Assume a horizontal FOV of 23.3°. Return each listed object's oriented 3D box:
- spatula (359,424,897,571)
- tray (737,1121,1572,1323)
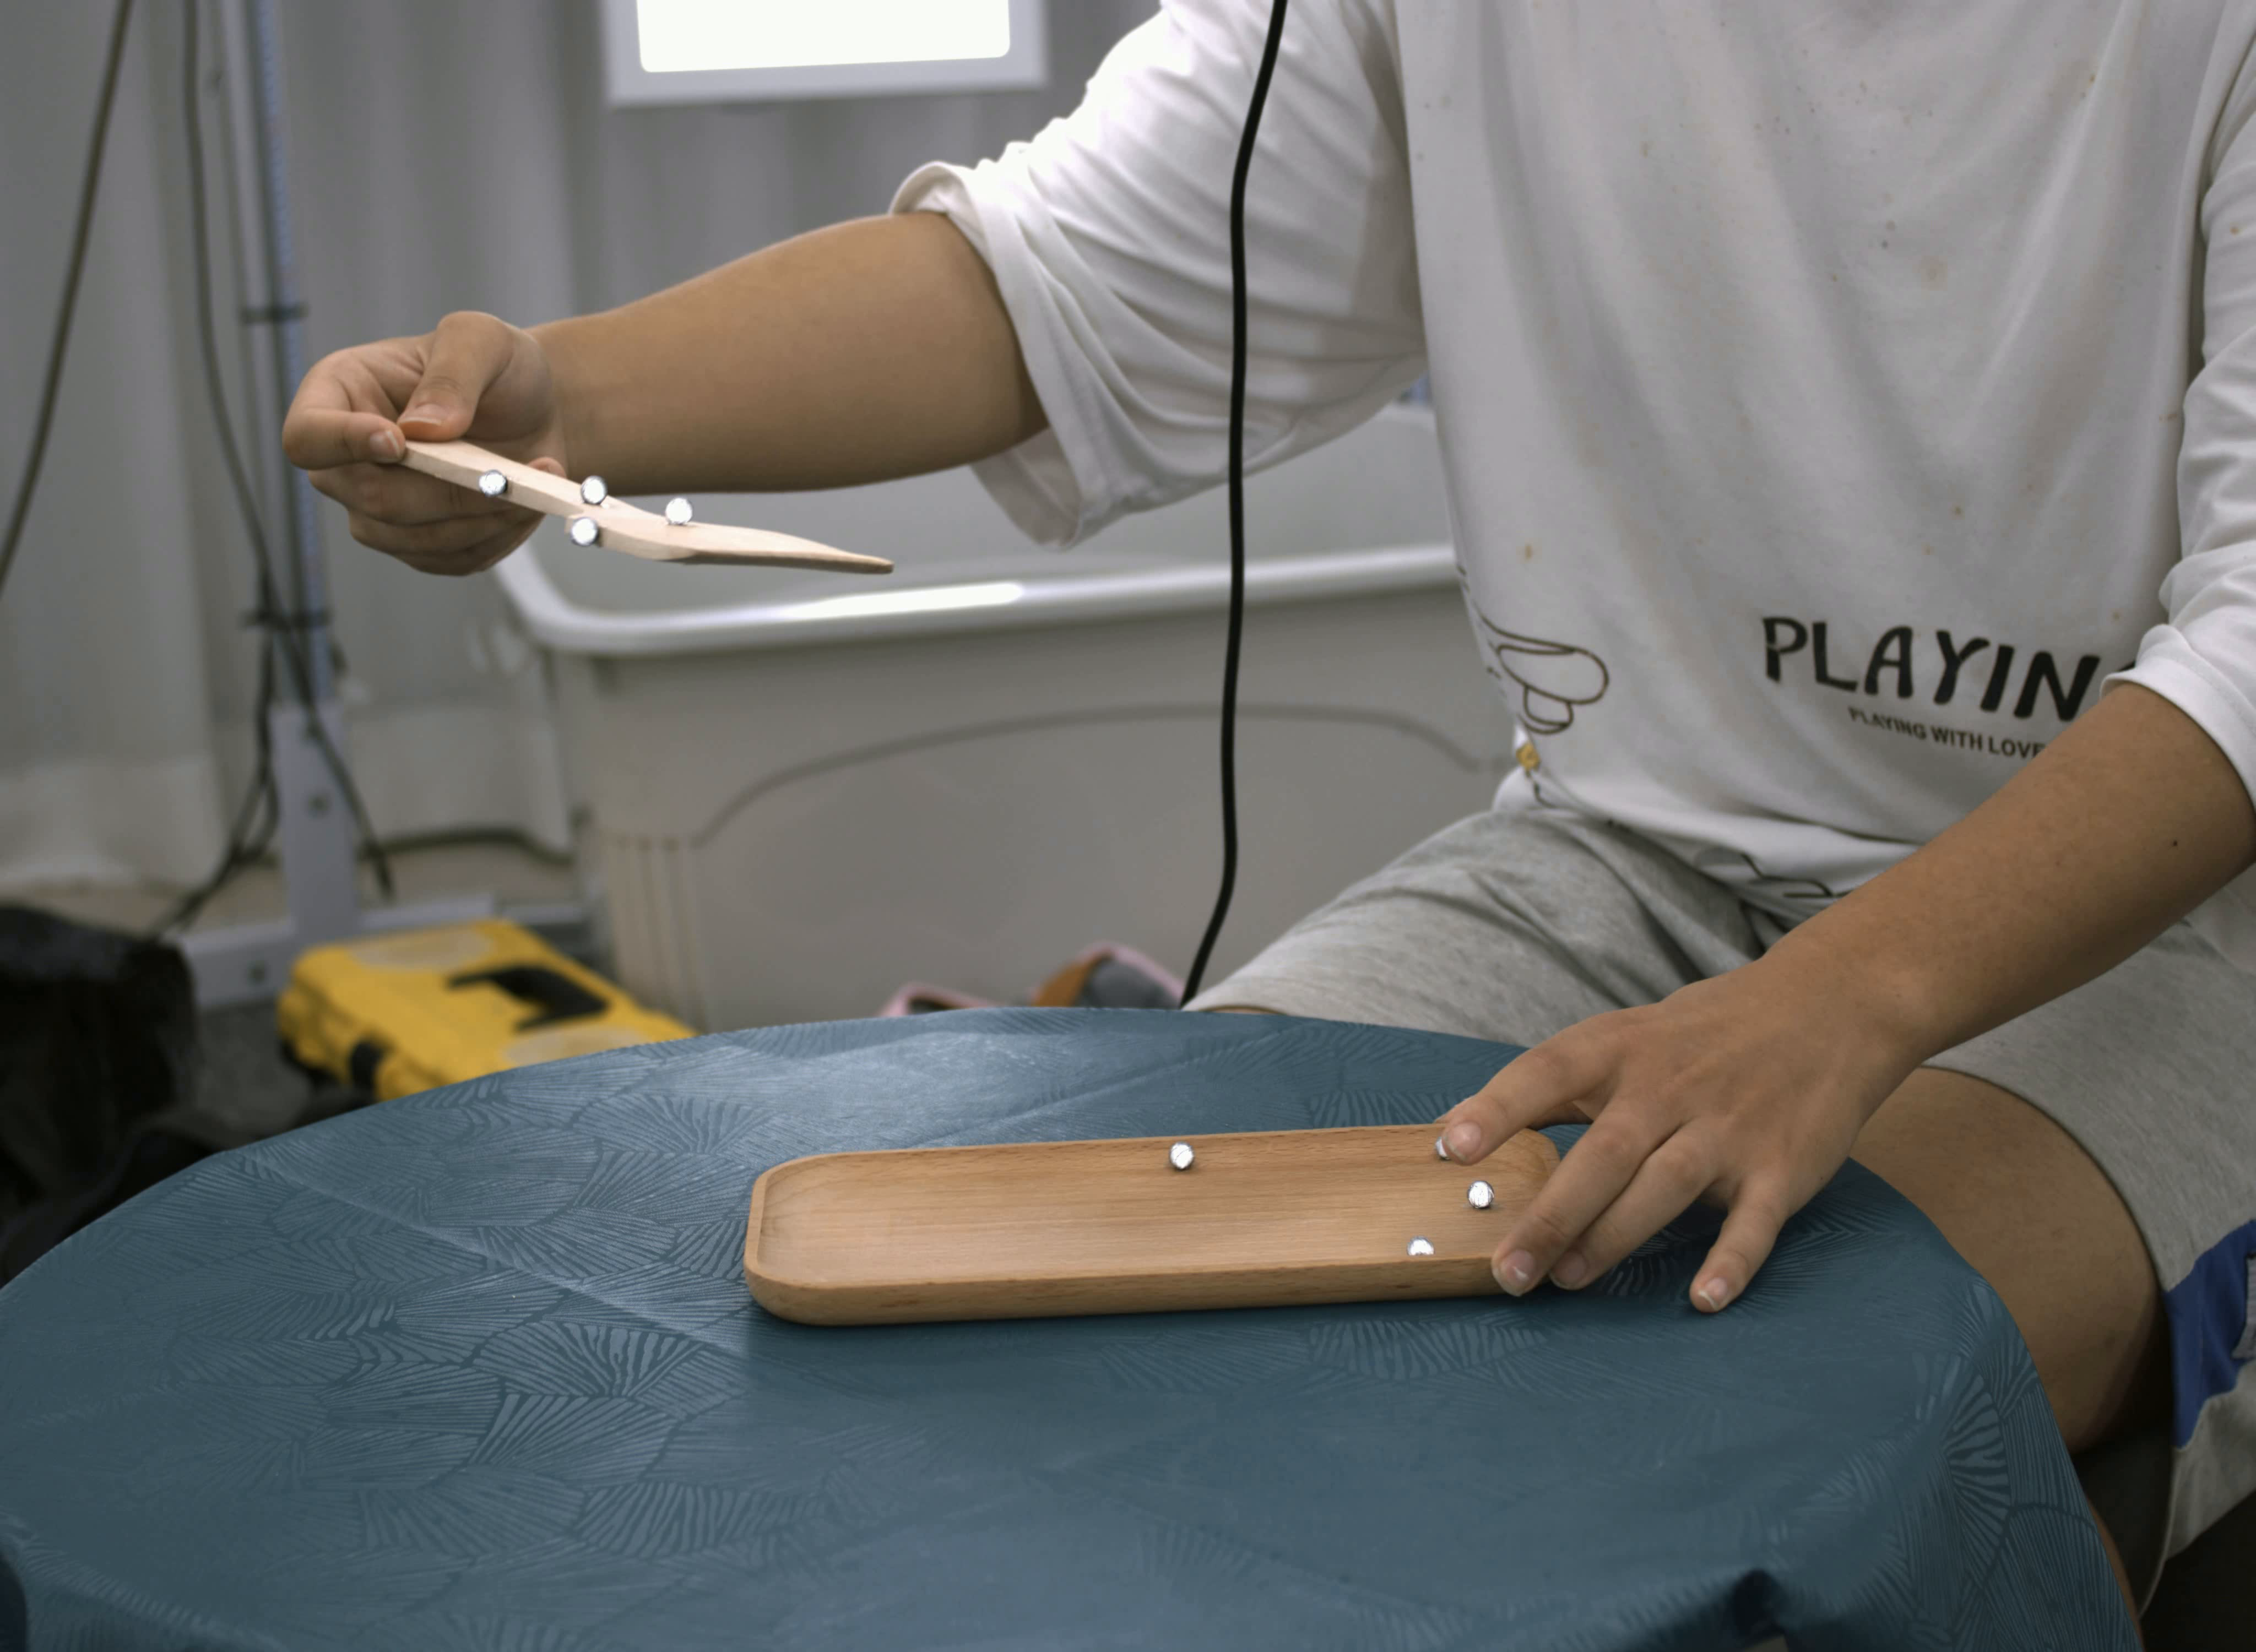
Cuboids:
[{"bbox_3d":[-0.171,-0.102,1.698,0.072,0.010,0.295,1,10,-32],"label":"spatula"},{"bbox_3d":[0.008,0.121,1.666,0.250,0.023,0.131,-3,13,2],"label":"tray"}]
